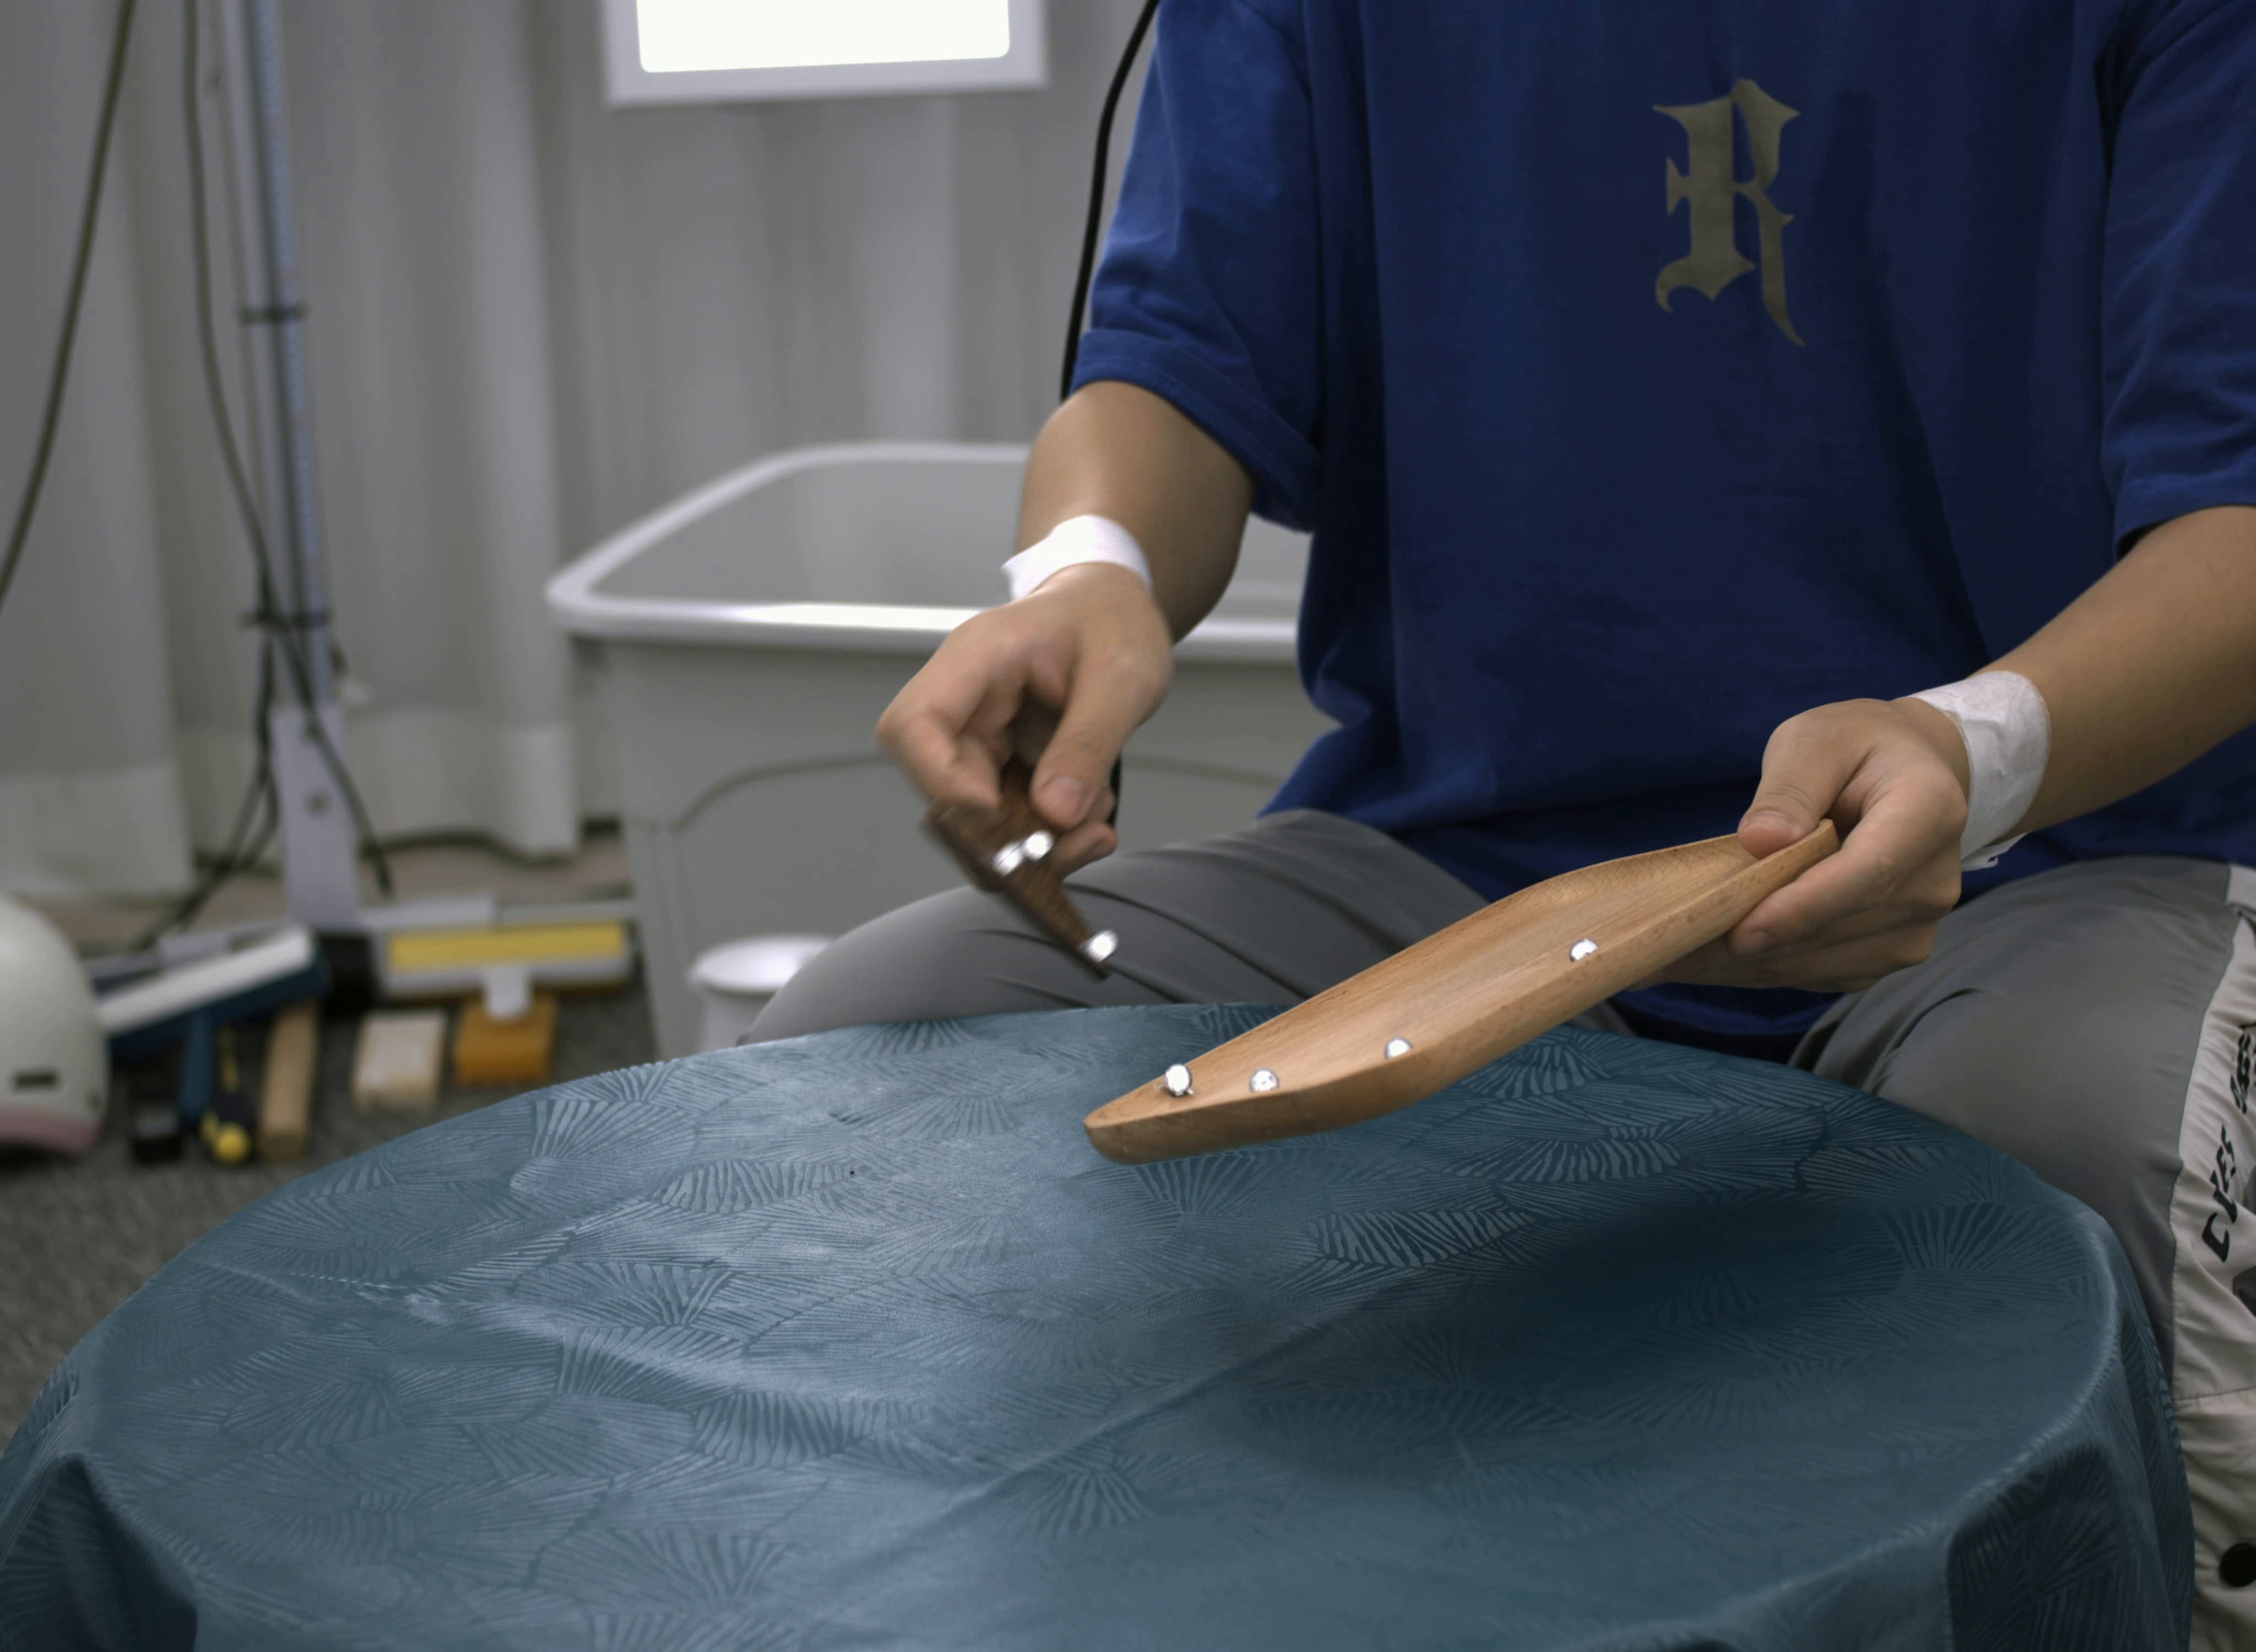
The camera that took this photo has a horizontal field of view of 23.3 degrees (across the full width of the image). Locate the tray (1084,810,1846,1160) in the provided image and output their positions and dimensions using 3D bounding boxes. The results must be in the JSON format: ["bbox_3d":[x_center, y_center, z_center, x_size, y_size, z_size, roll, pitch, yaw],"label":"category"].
[{"bbox_3d":[0.102,0.045,1.589,0.130,0.023,0.251,-10,10,44],"label":"tray"}]

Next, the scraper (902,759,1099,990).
[{"bbox_3d":[-0.036,0.007,1.712,0.075,0.011,0.212,40,10,-6],"label":"scraper"}]
